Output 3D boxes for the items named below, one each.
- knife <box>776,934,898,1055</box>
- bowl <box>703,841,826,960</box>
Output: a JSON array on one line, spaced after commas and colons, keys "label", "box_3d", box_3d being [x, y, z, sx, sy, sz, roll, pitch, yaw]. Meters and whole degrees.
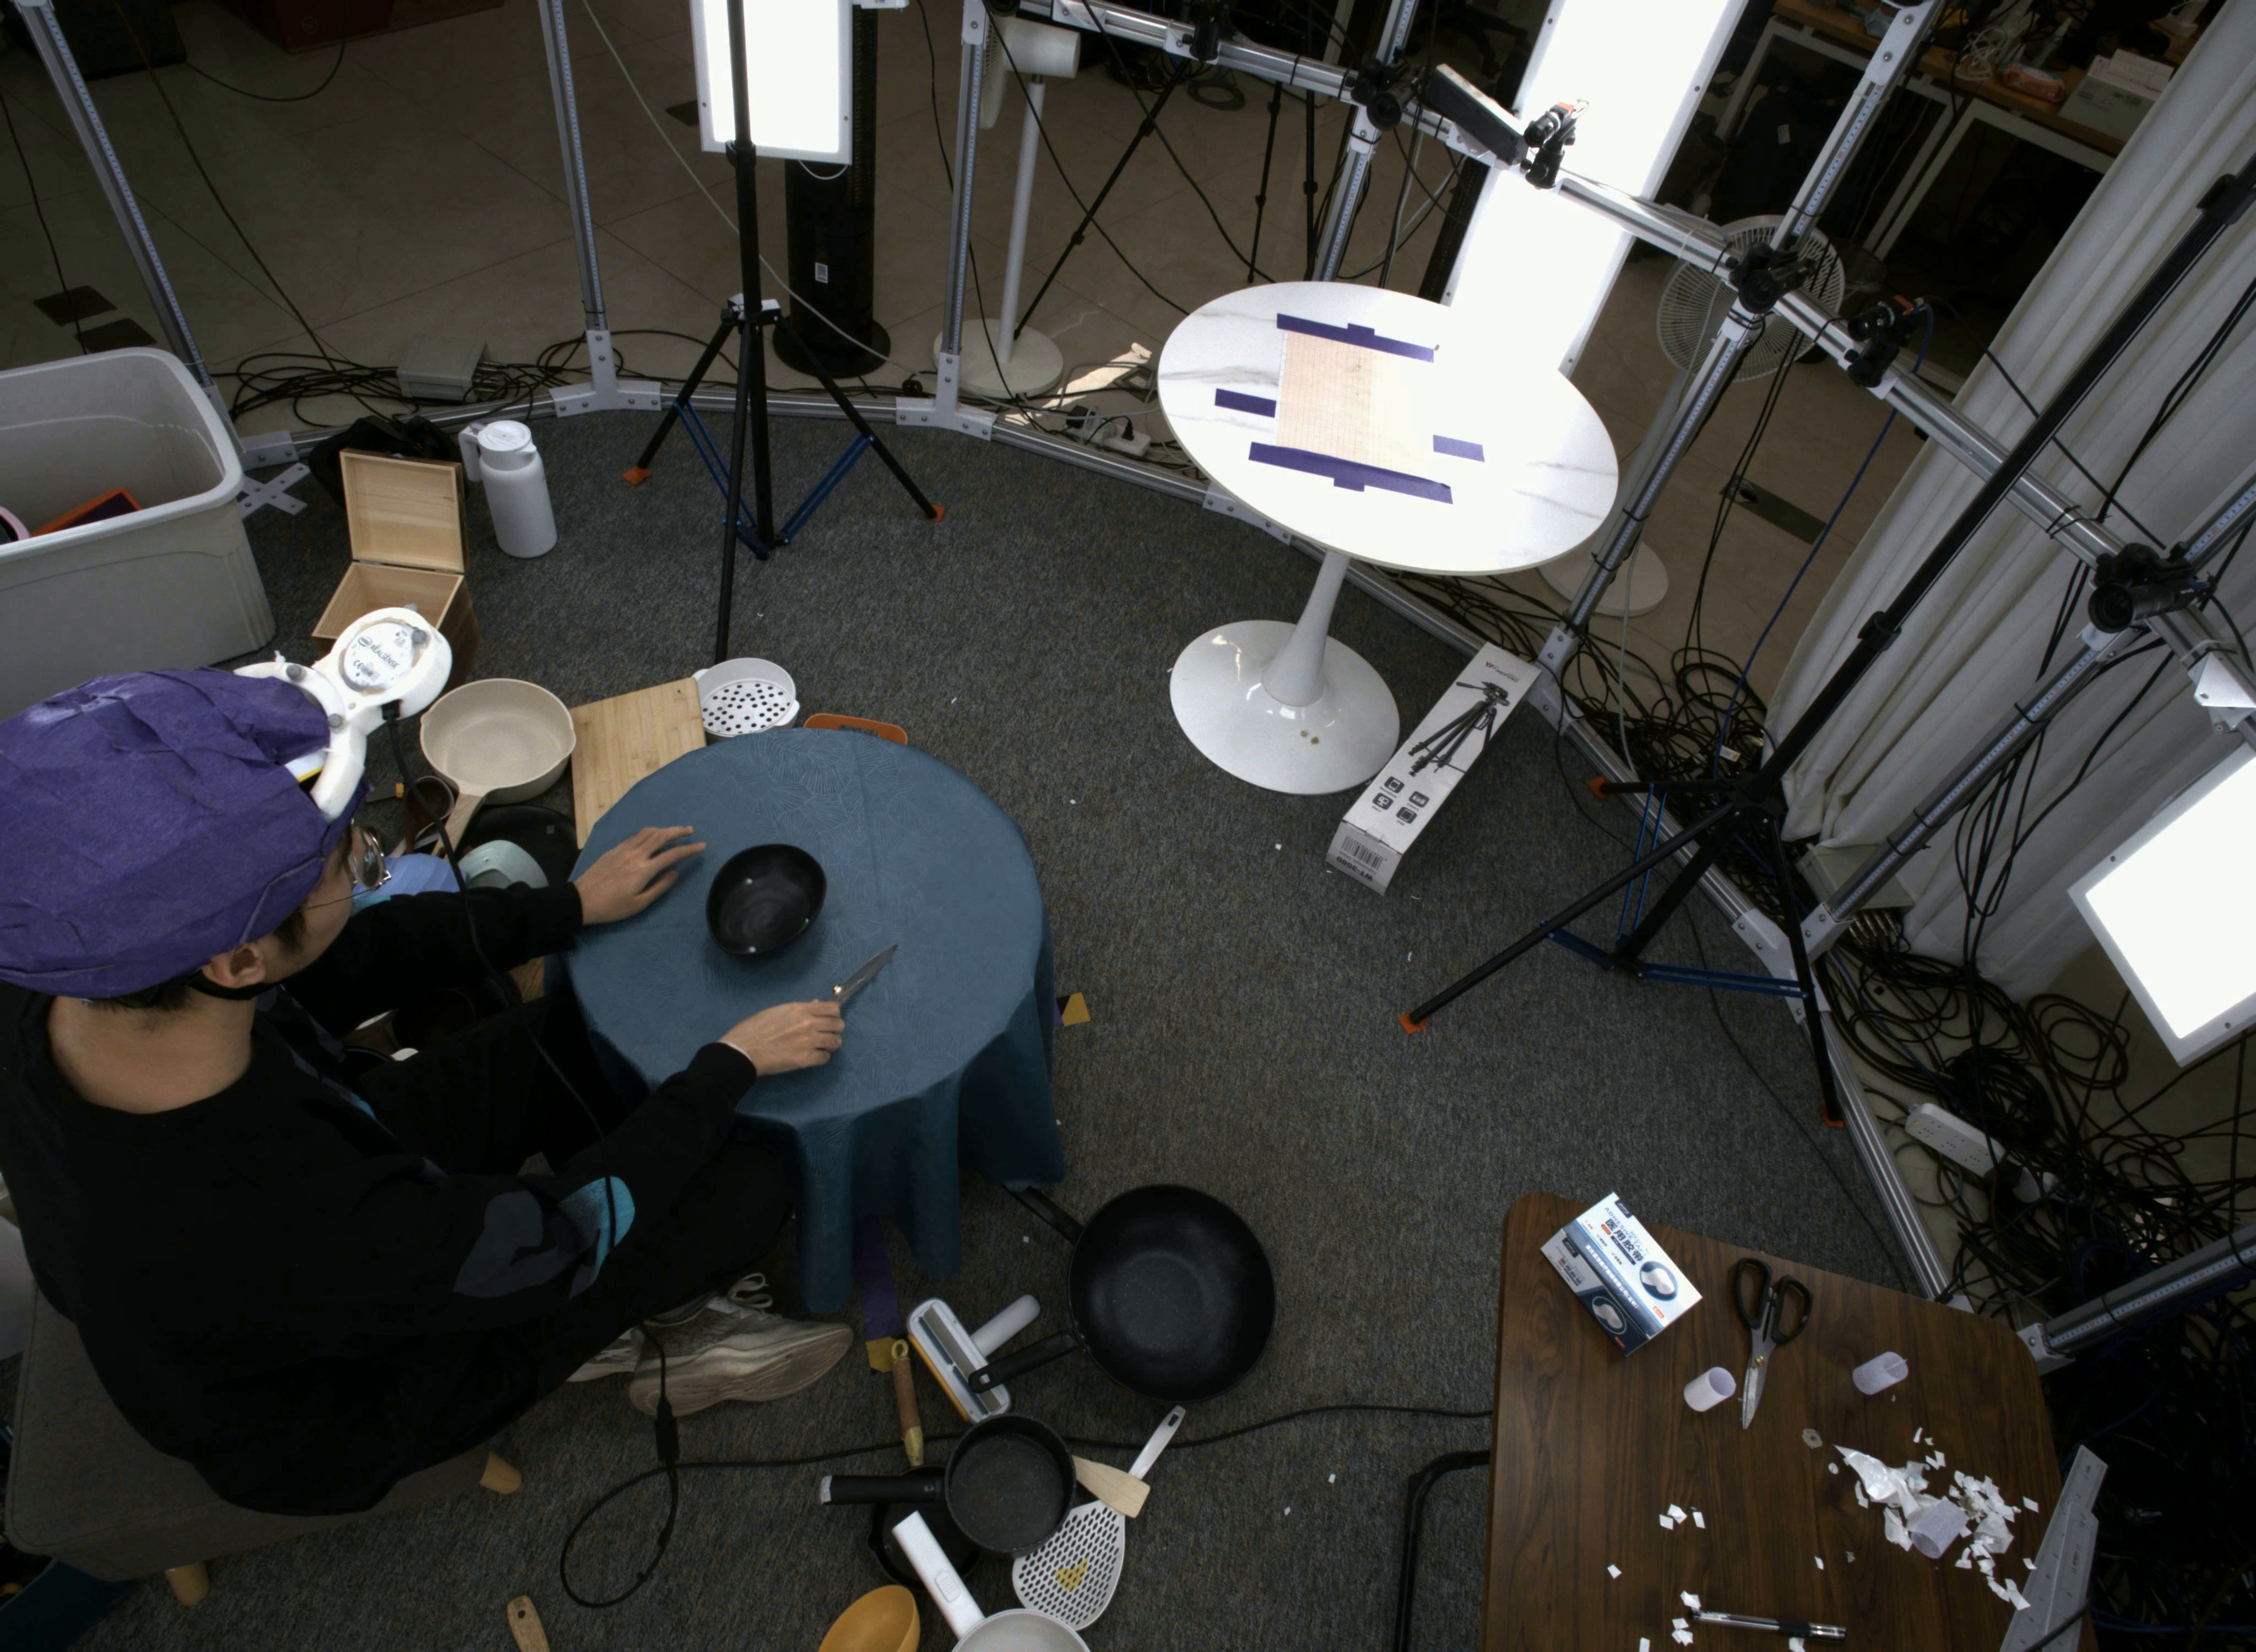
[{"label": "knife", "box_3d": [-0.342, 0.195, 1.551, 0.017, 0.027, 0.225, 4, 31, 32]}, {"label": "bowl", "box_3d": [-0.445, 0.100, 1.591, 0.136, 0.068, 0.169, 22, 53, 3]}]
